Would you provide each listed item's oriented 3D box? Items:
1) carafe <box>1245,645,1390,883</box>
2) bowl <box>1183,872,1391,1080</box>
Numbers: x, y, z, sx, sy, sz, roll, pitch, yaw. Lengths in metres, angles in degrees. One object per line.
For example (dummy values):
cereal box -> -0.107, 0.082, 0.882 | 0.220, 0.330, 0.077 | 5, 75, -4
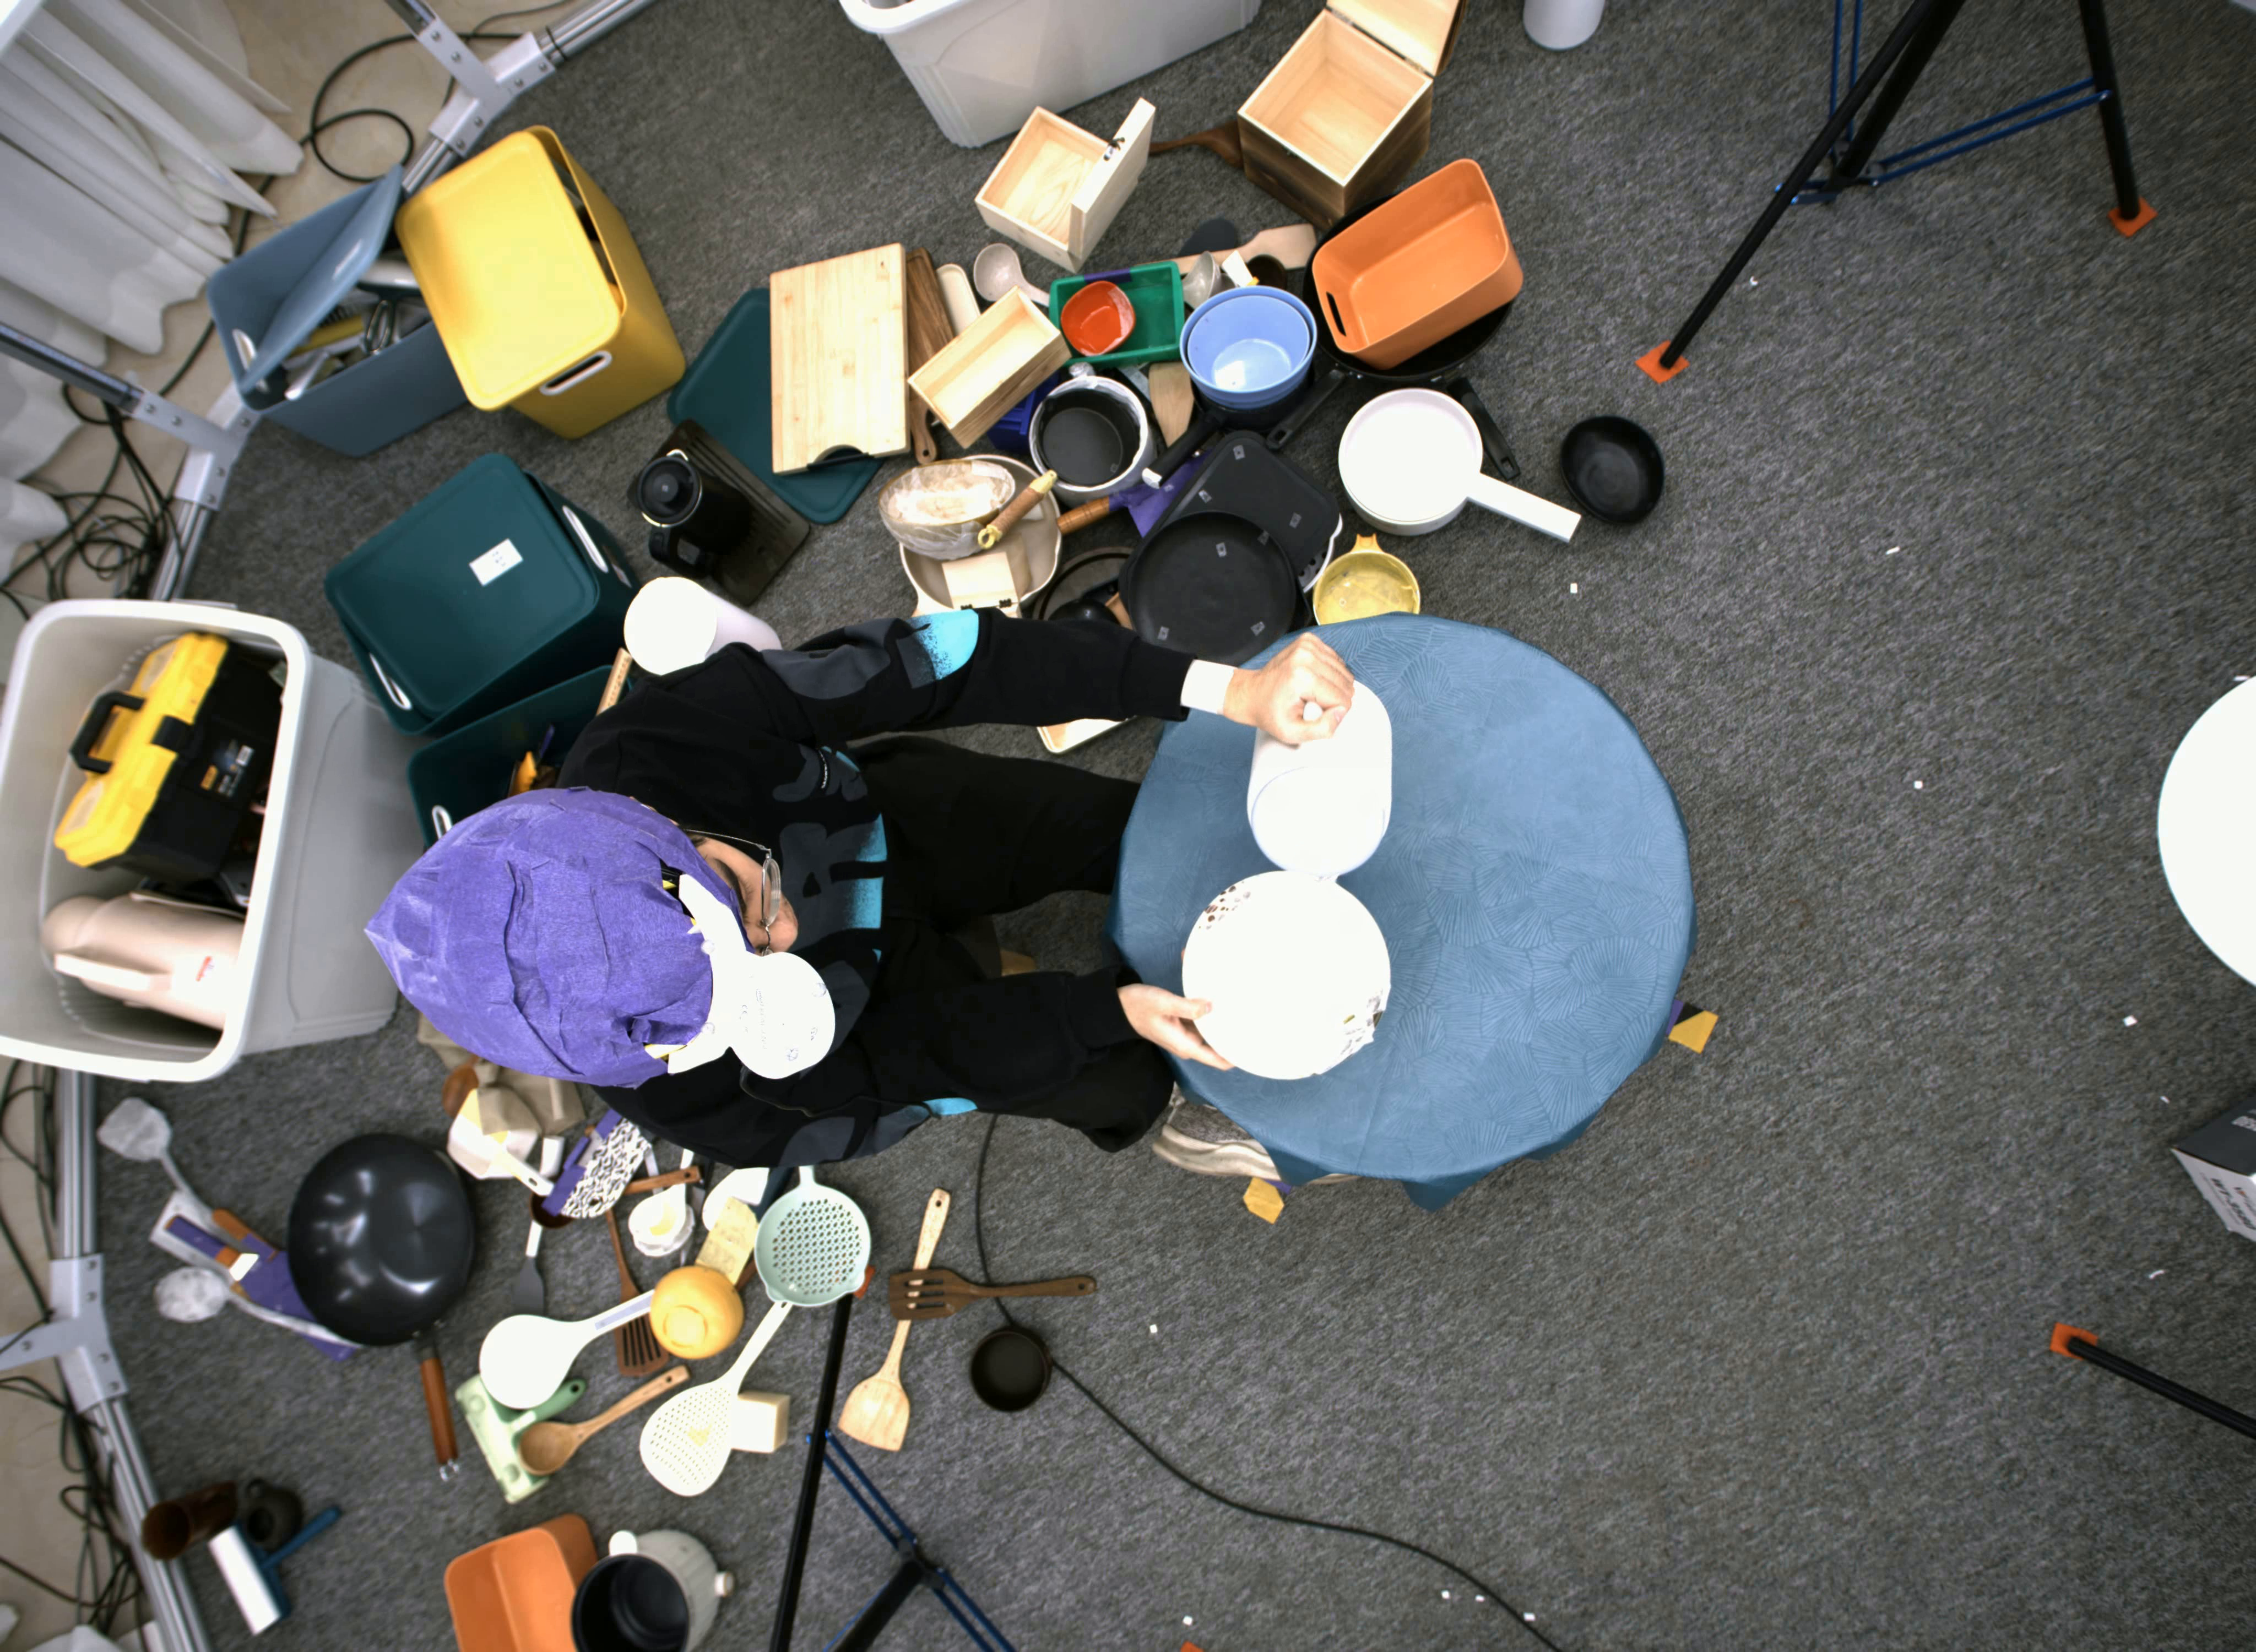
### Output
carafe -> 0.175, -0.071, 1.275 | 0.133, 0.178, 0.195 | -3, 122, 11
bowl -> 0.161, 0.150, 1.388 | 0.205, 0.078, 0.202 | -2, 84, 12
